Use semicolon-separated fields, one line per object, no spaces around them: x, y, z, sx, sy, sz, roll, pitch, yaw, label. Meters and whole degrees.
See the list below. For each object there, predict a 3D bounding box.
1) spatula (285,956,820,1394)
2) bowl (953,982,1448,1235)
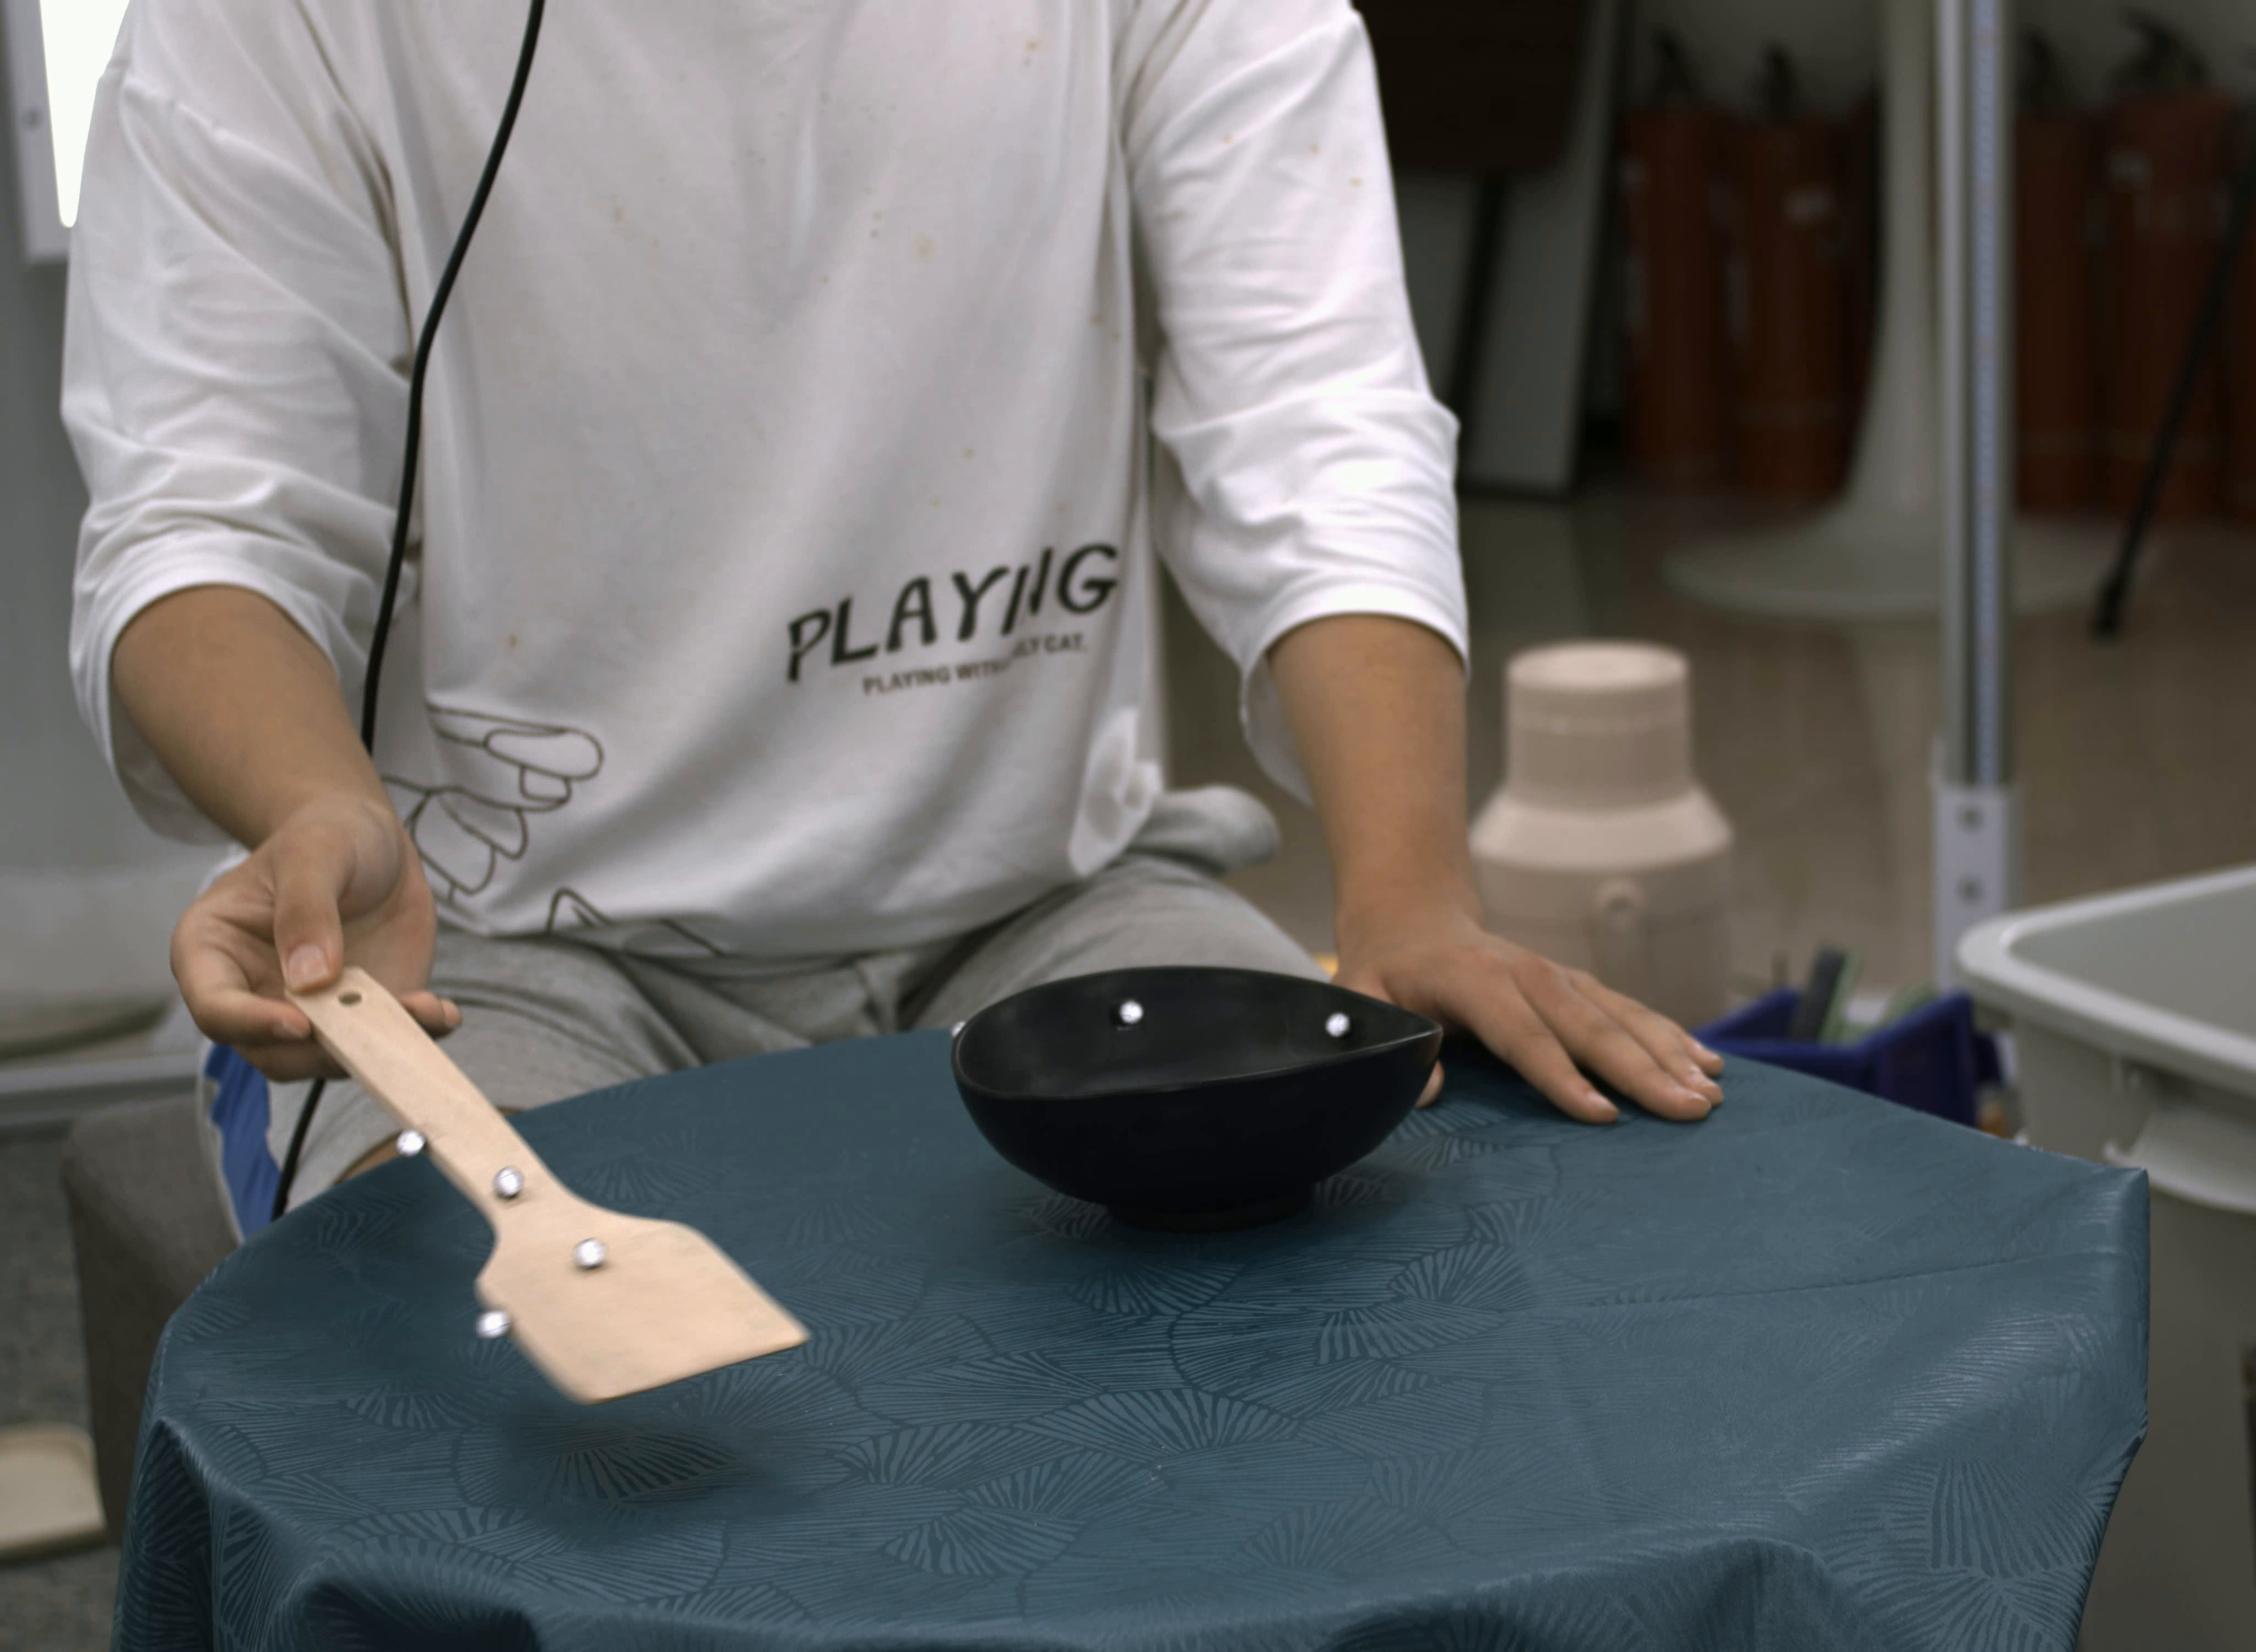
-0.189;0.100;1.630;0.071;0.011;0.296;-14;28;-27;spatula
0.024;0.093;1.751;0.166;0.067;0.139;-9;13;-29;bowl
